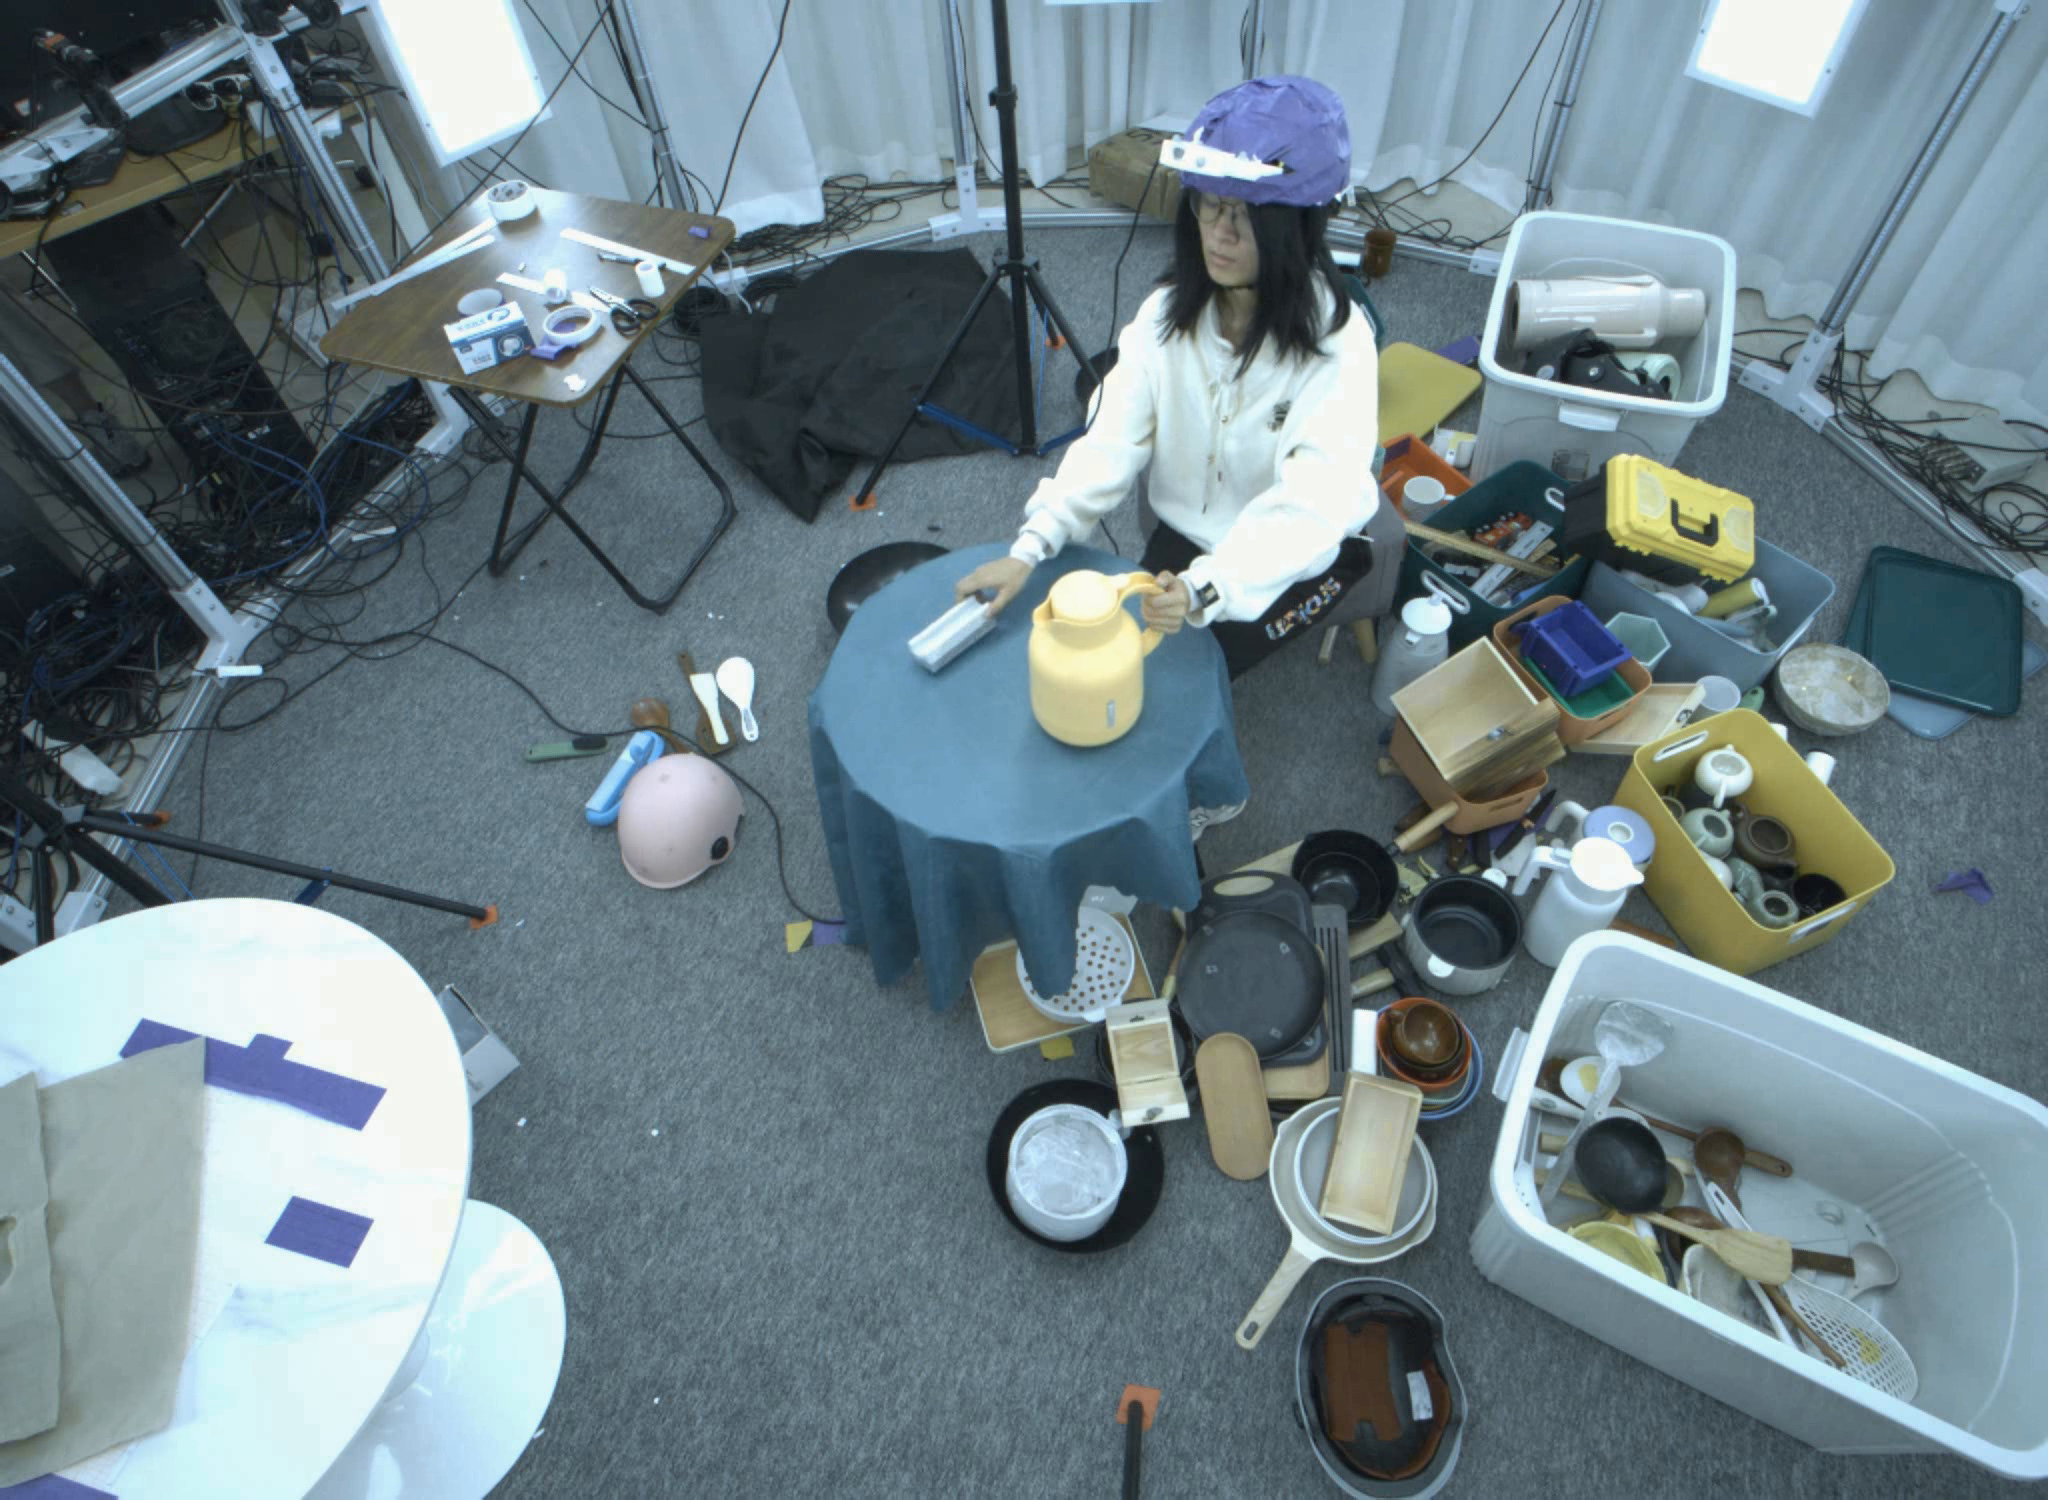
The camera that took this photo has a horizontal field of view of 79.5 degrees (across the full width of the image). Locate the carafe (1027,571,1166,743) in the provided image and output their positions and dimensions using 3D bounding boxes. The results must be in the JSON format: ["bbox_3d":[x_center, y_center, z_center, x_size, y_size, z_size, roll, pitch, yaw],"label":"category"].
[{"bbox_3d":[0.104,-0.142,1.721,0.203,0.263,0.160,-22,59,-10],"label":"carafe"}]

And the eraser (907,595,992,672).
[{"bbox_3d":[-0.113,-0.180,1.887,0.048,0.047,0.135,29,61,37],"label":"eraser"}]
